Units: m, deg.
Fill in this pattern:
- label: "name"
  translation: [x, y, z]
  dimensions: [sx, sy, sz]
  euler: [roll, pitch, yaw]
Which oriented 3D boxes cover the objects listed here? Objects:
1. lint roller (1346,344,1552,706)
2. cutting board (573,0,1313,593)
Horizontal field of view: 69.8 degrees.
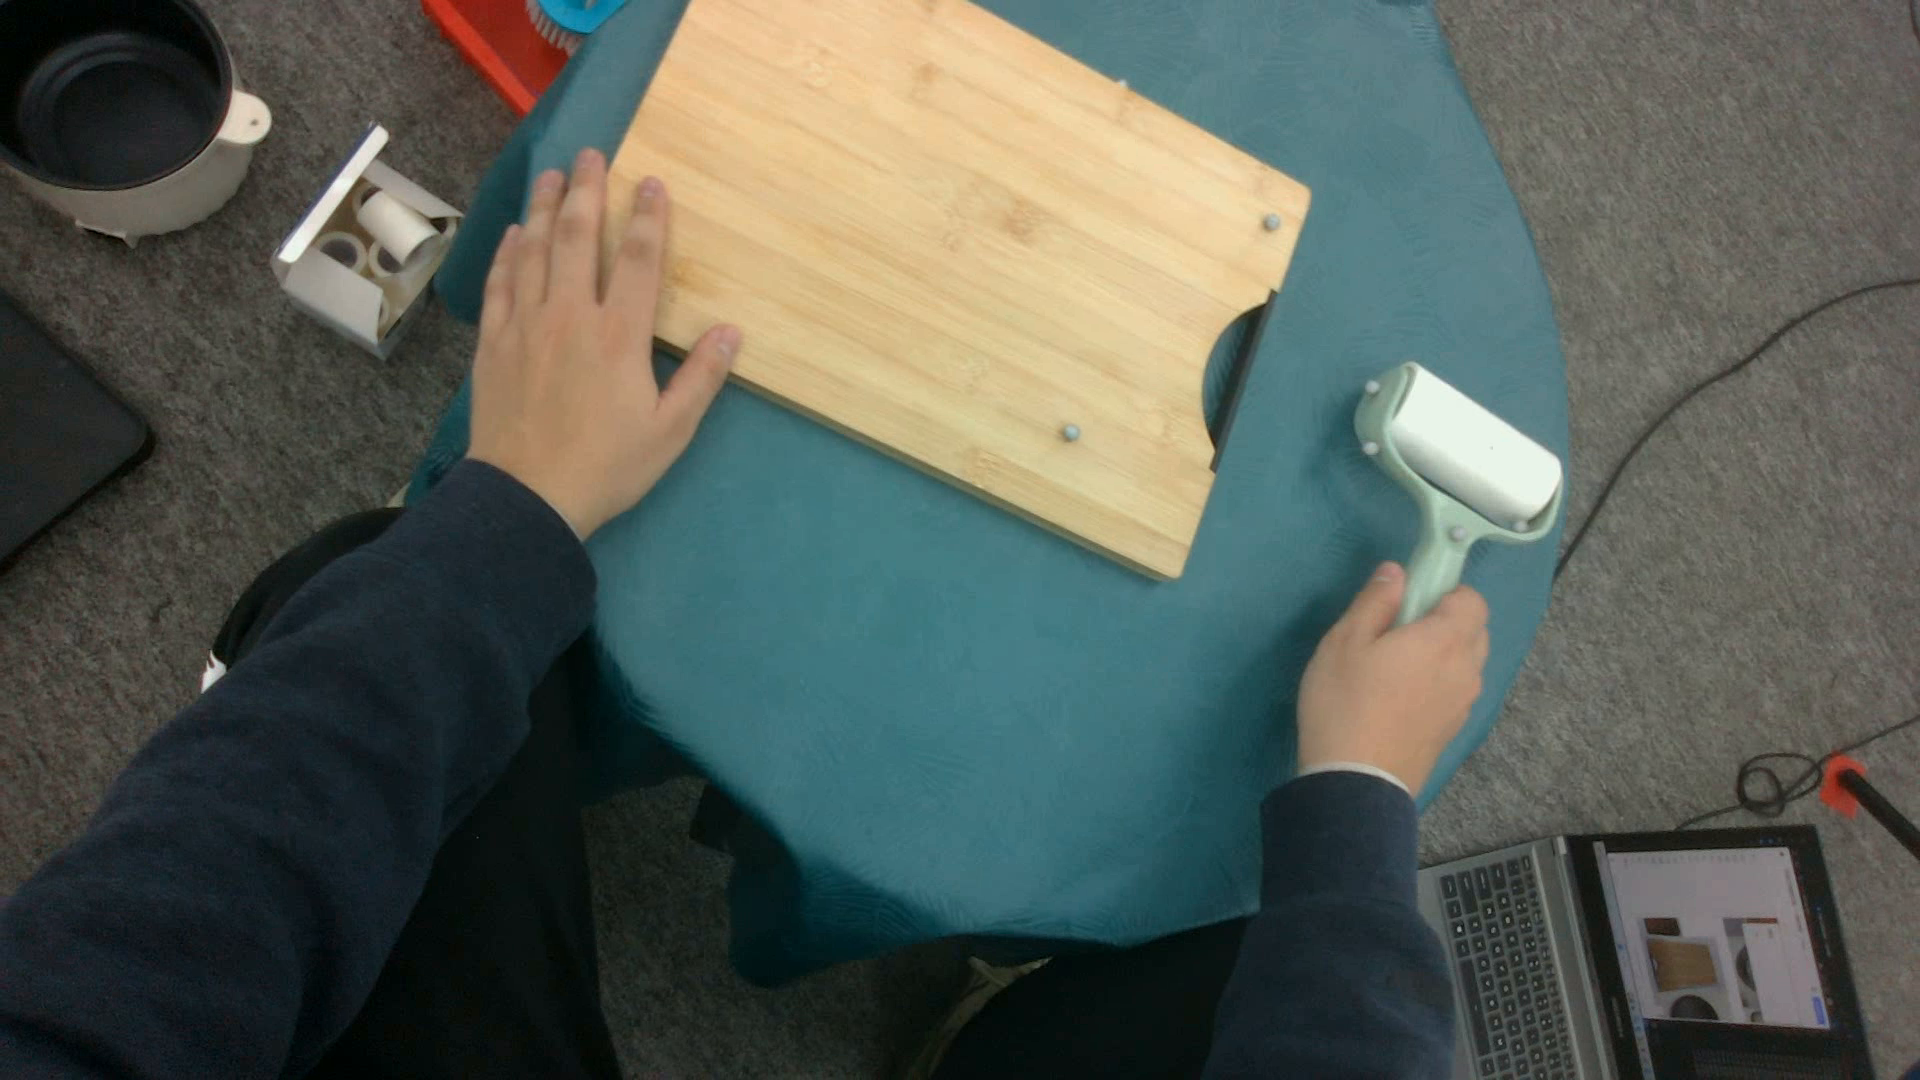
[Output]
- label: "lint roller"
  translation: [0.250, -0.004, 0.745]
  dimensions: [0.116, 0.048, 0.198]
  euler: [27, 66, -11]
- label: "cutting board"
  translation: [0.006, -0.146, 0.731]
  dimensions: [0.349, 0.023, 0.251]
  euler: [21, 76, -11]
